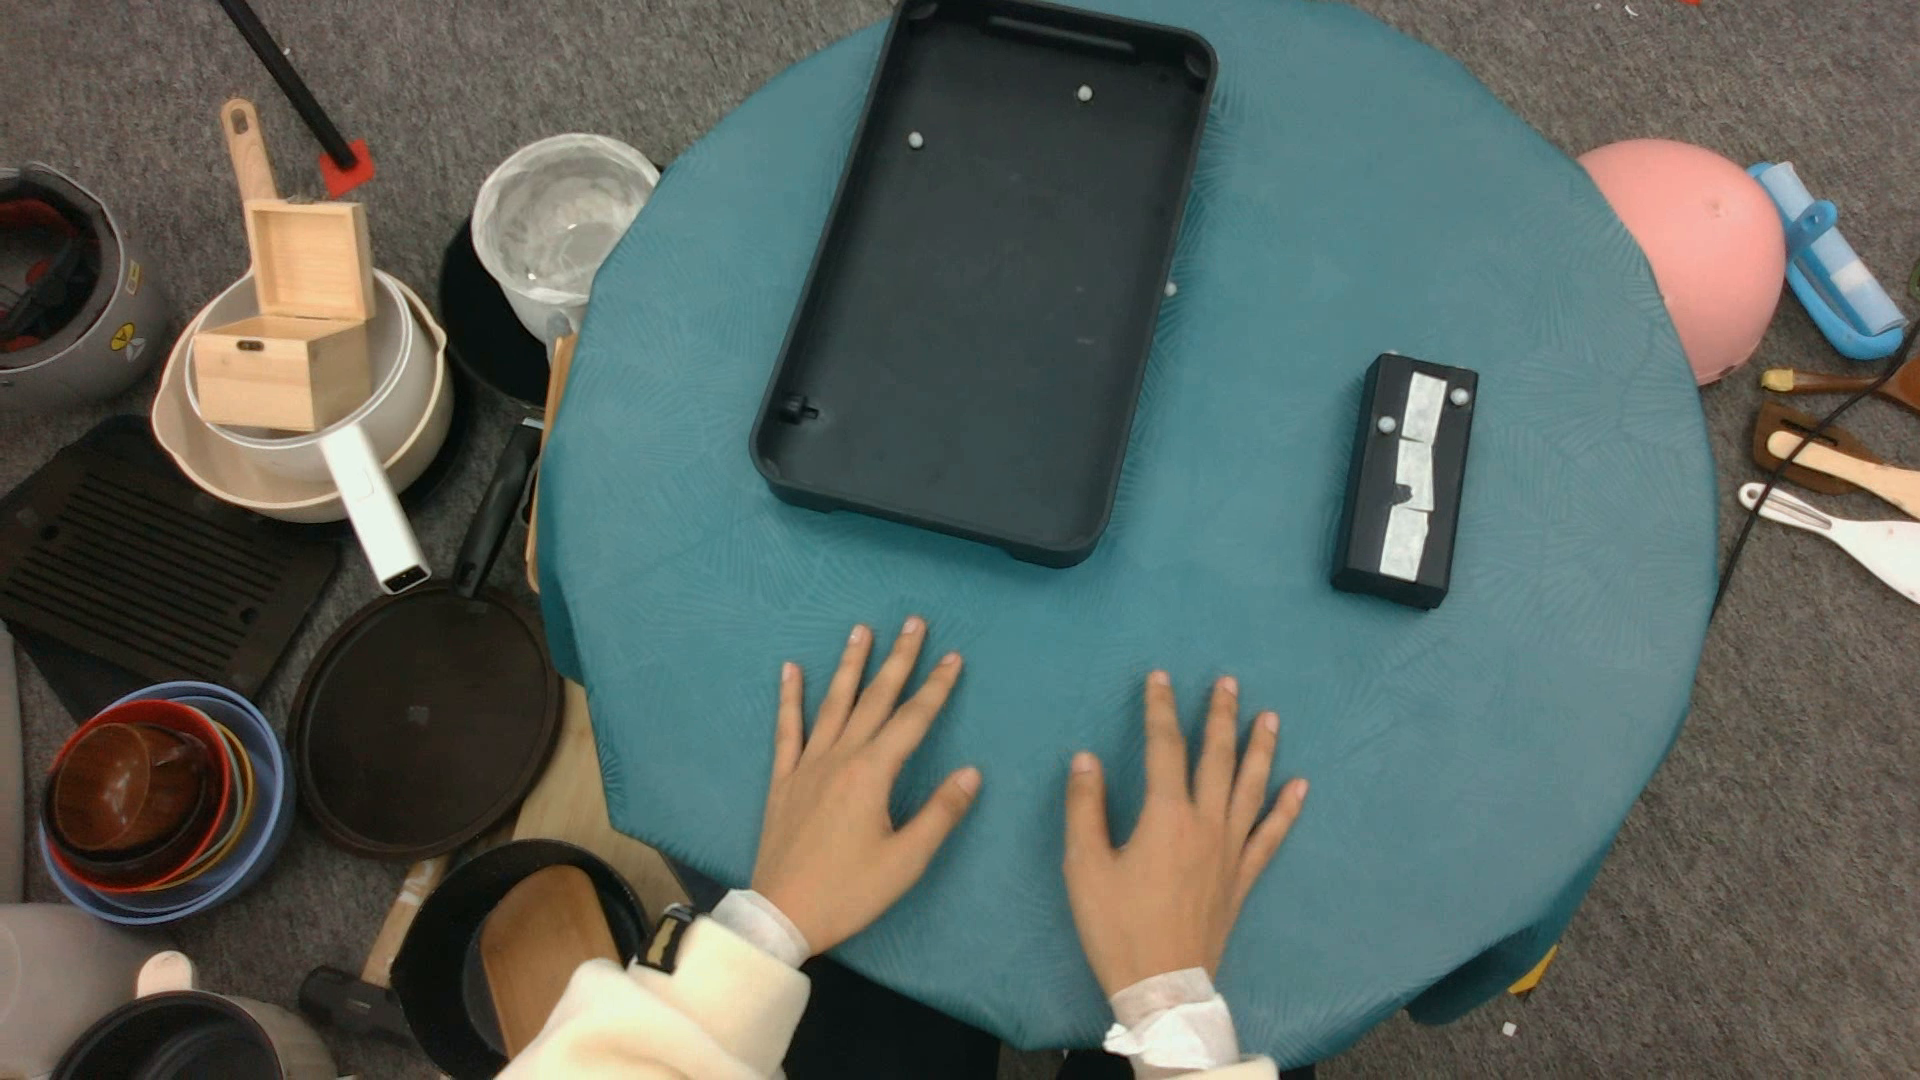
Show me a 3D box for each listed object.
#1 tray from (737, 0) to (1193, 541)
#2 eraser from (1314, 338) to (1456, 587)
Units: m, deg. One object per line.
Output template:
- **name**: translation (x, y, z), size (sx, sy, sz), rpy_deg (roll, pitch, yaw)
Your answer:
- **tray**: translation (0.010, -0.162, 0.734), size (0.184, 0.037, 0.319), rpy_deg (12, 70, 4)
- **eraser**: translation (0.214, -0.041, 0.696), size (0.053, 0.030, 0.126), rpy_deg (12, 71, 8)
